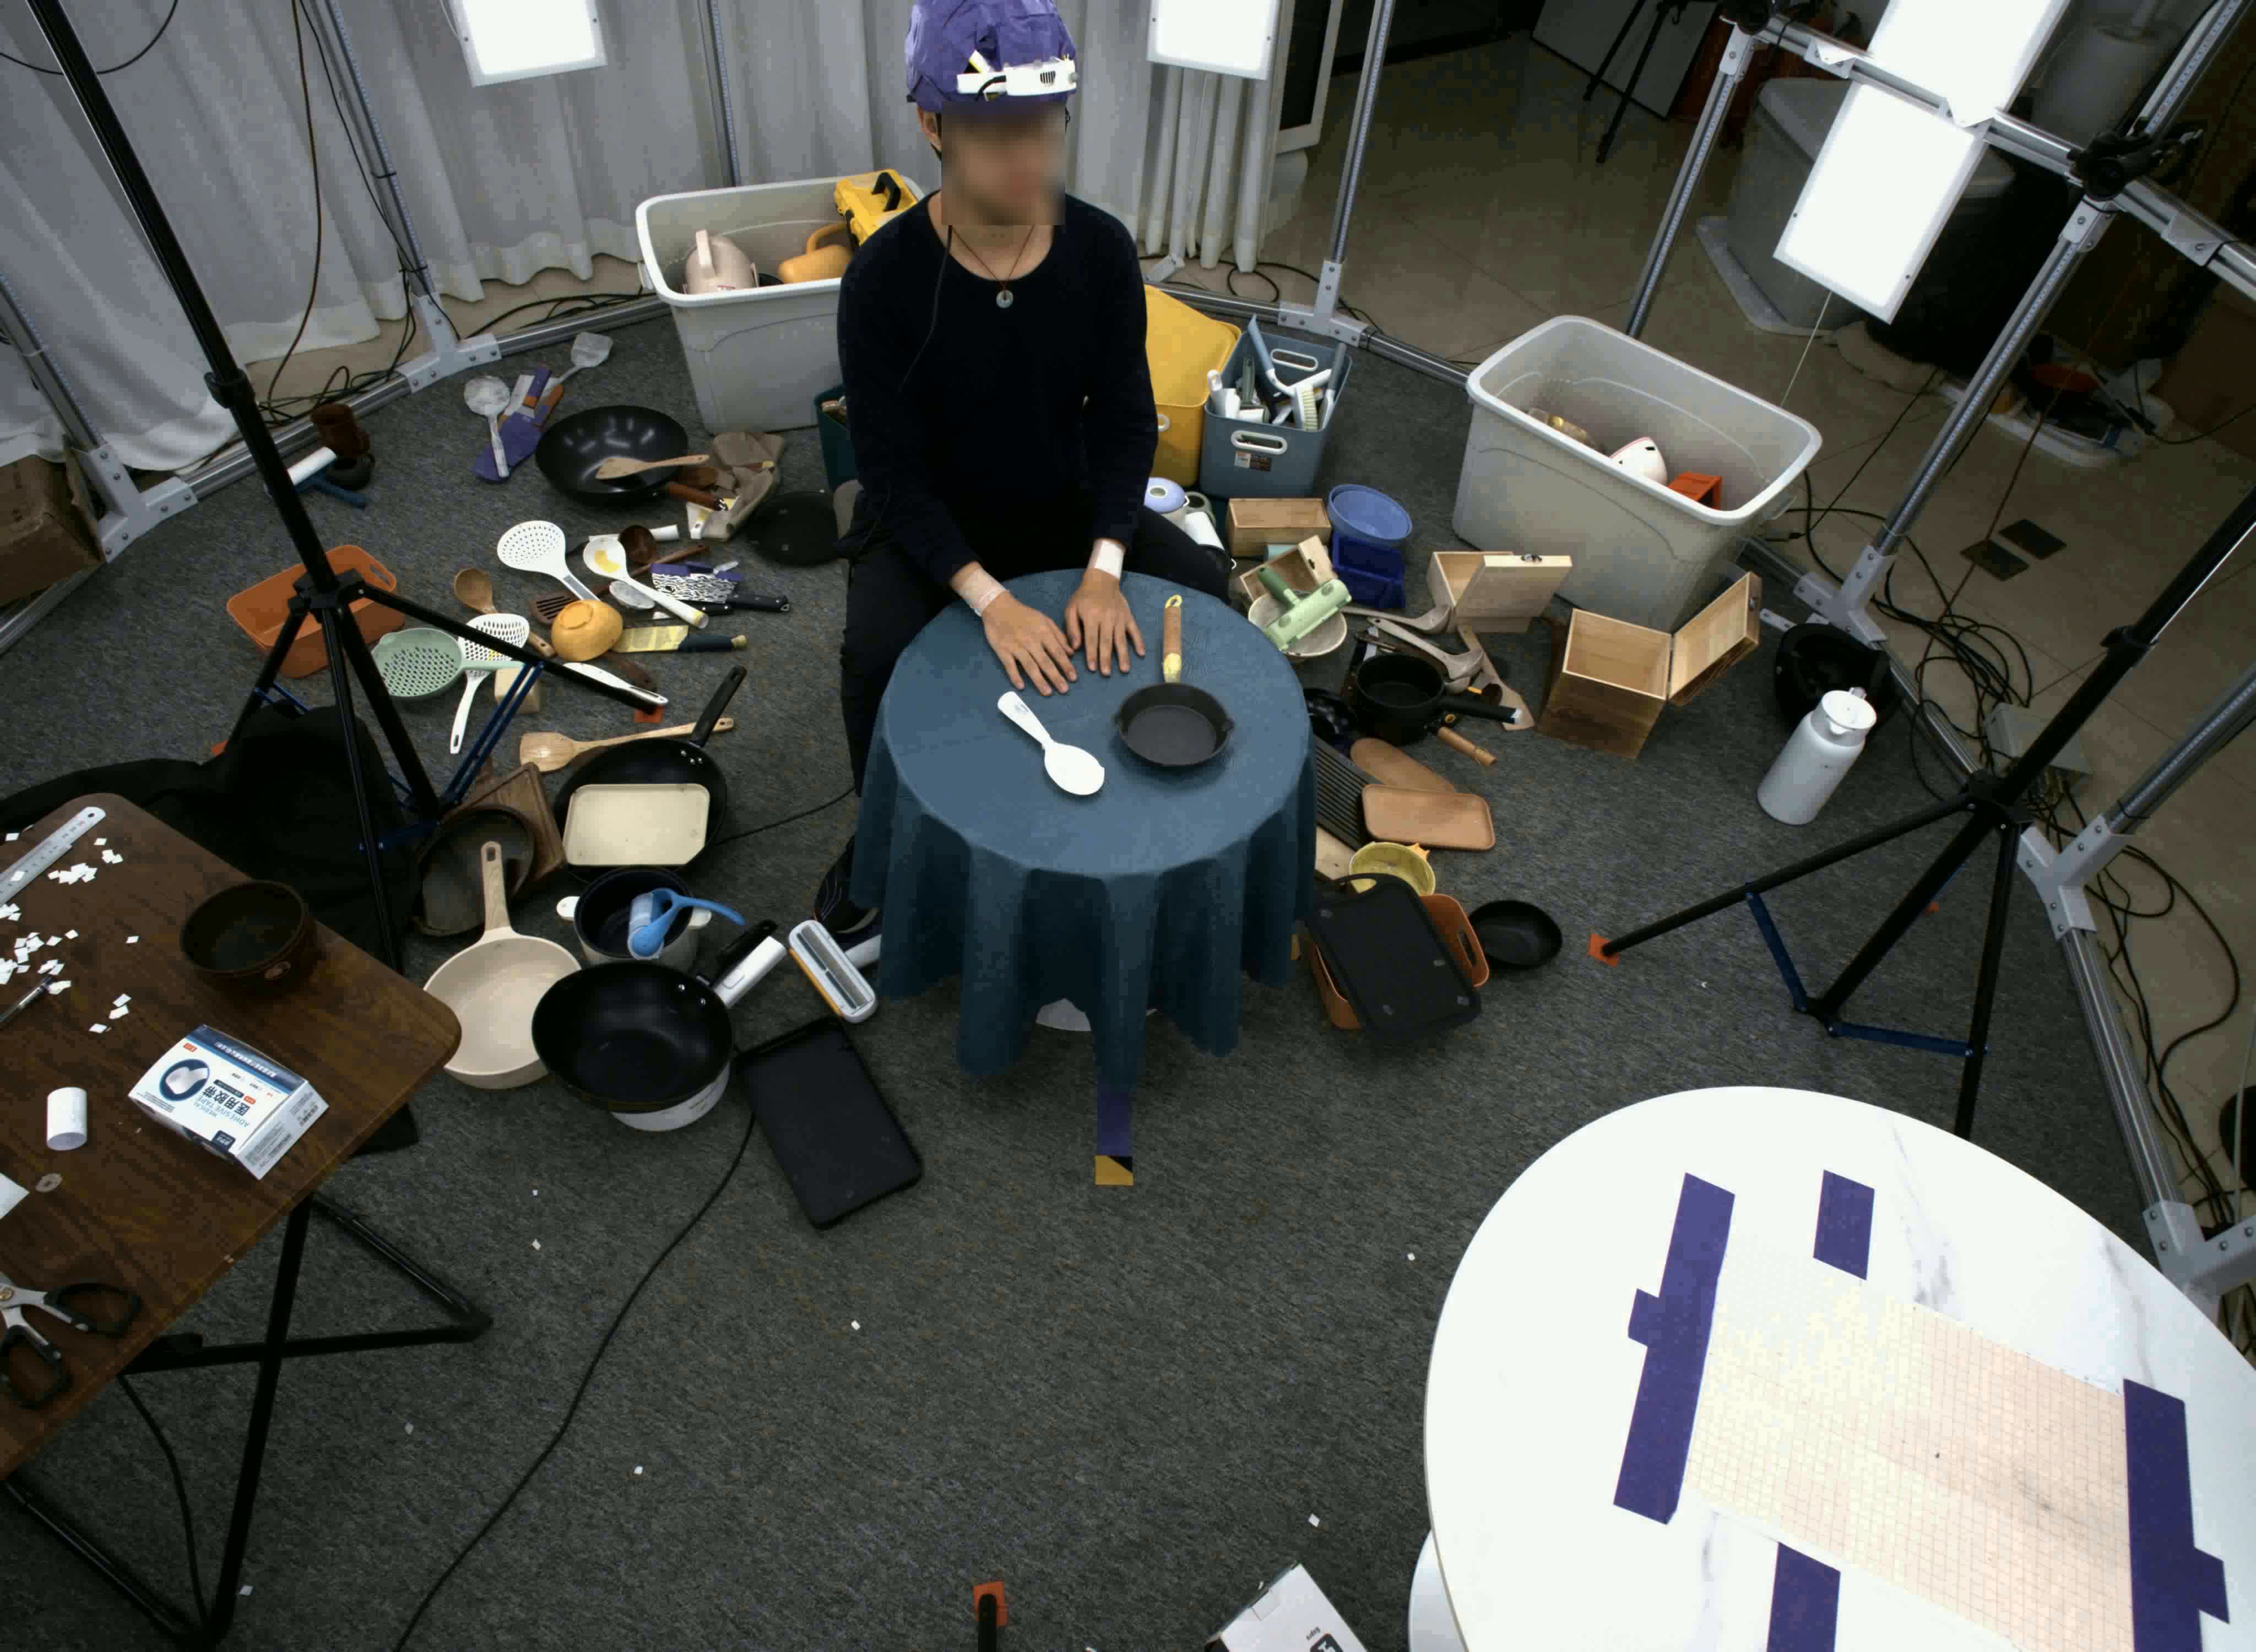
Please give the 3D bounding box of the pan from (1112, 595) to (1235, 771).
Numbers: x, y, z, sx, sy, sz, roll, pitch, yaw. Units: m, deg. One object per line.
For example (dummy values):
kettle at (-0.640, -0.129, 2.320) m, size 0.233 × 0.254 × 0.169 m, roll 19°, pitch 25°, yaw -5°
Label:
pan at (0.065, -0.203, 1.817) m, size 0.169 × 0.048 × 0.332 m, roll 4°, pitch 50°, yaw -1°

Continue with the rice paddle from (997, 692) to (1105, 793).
rice paddle at (-0.106, -0.113, 1.741) m, size 0.069 × 0.029 × 0.209 m, roll -30°, pitch 57°, yaw -24°
